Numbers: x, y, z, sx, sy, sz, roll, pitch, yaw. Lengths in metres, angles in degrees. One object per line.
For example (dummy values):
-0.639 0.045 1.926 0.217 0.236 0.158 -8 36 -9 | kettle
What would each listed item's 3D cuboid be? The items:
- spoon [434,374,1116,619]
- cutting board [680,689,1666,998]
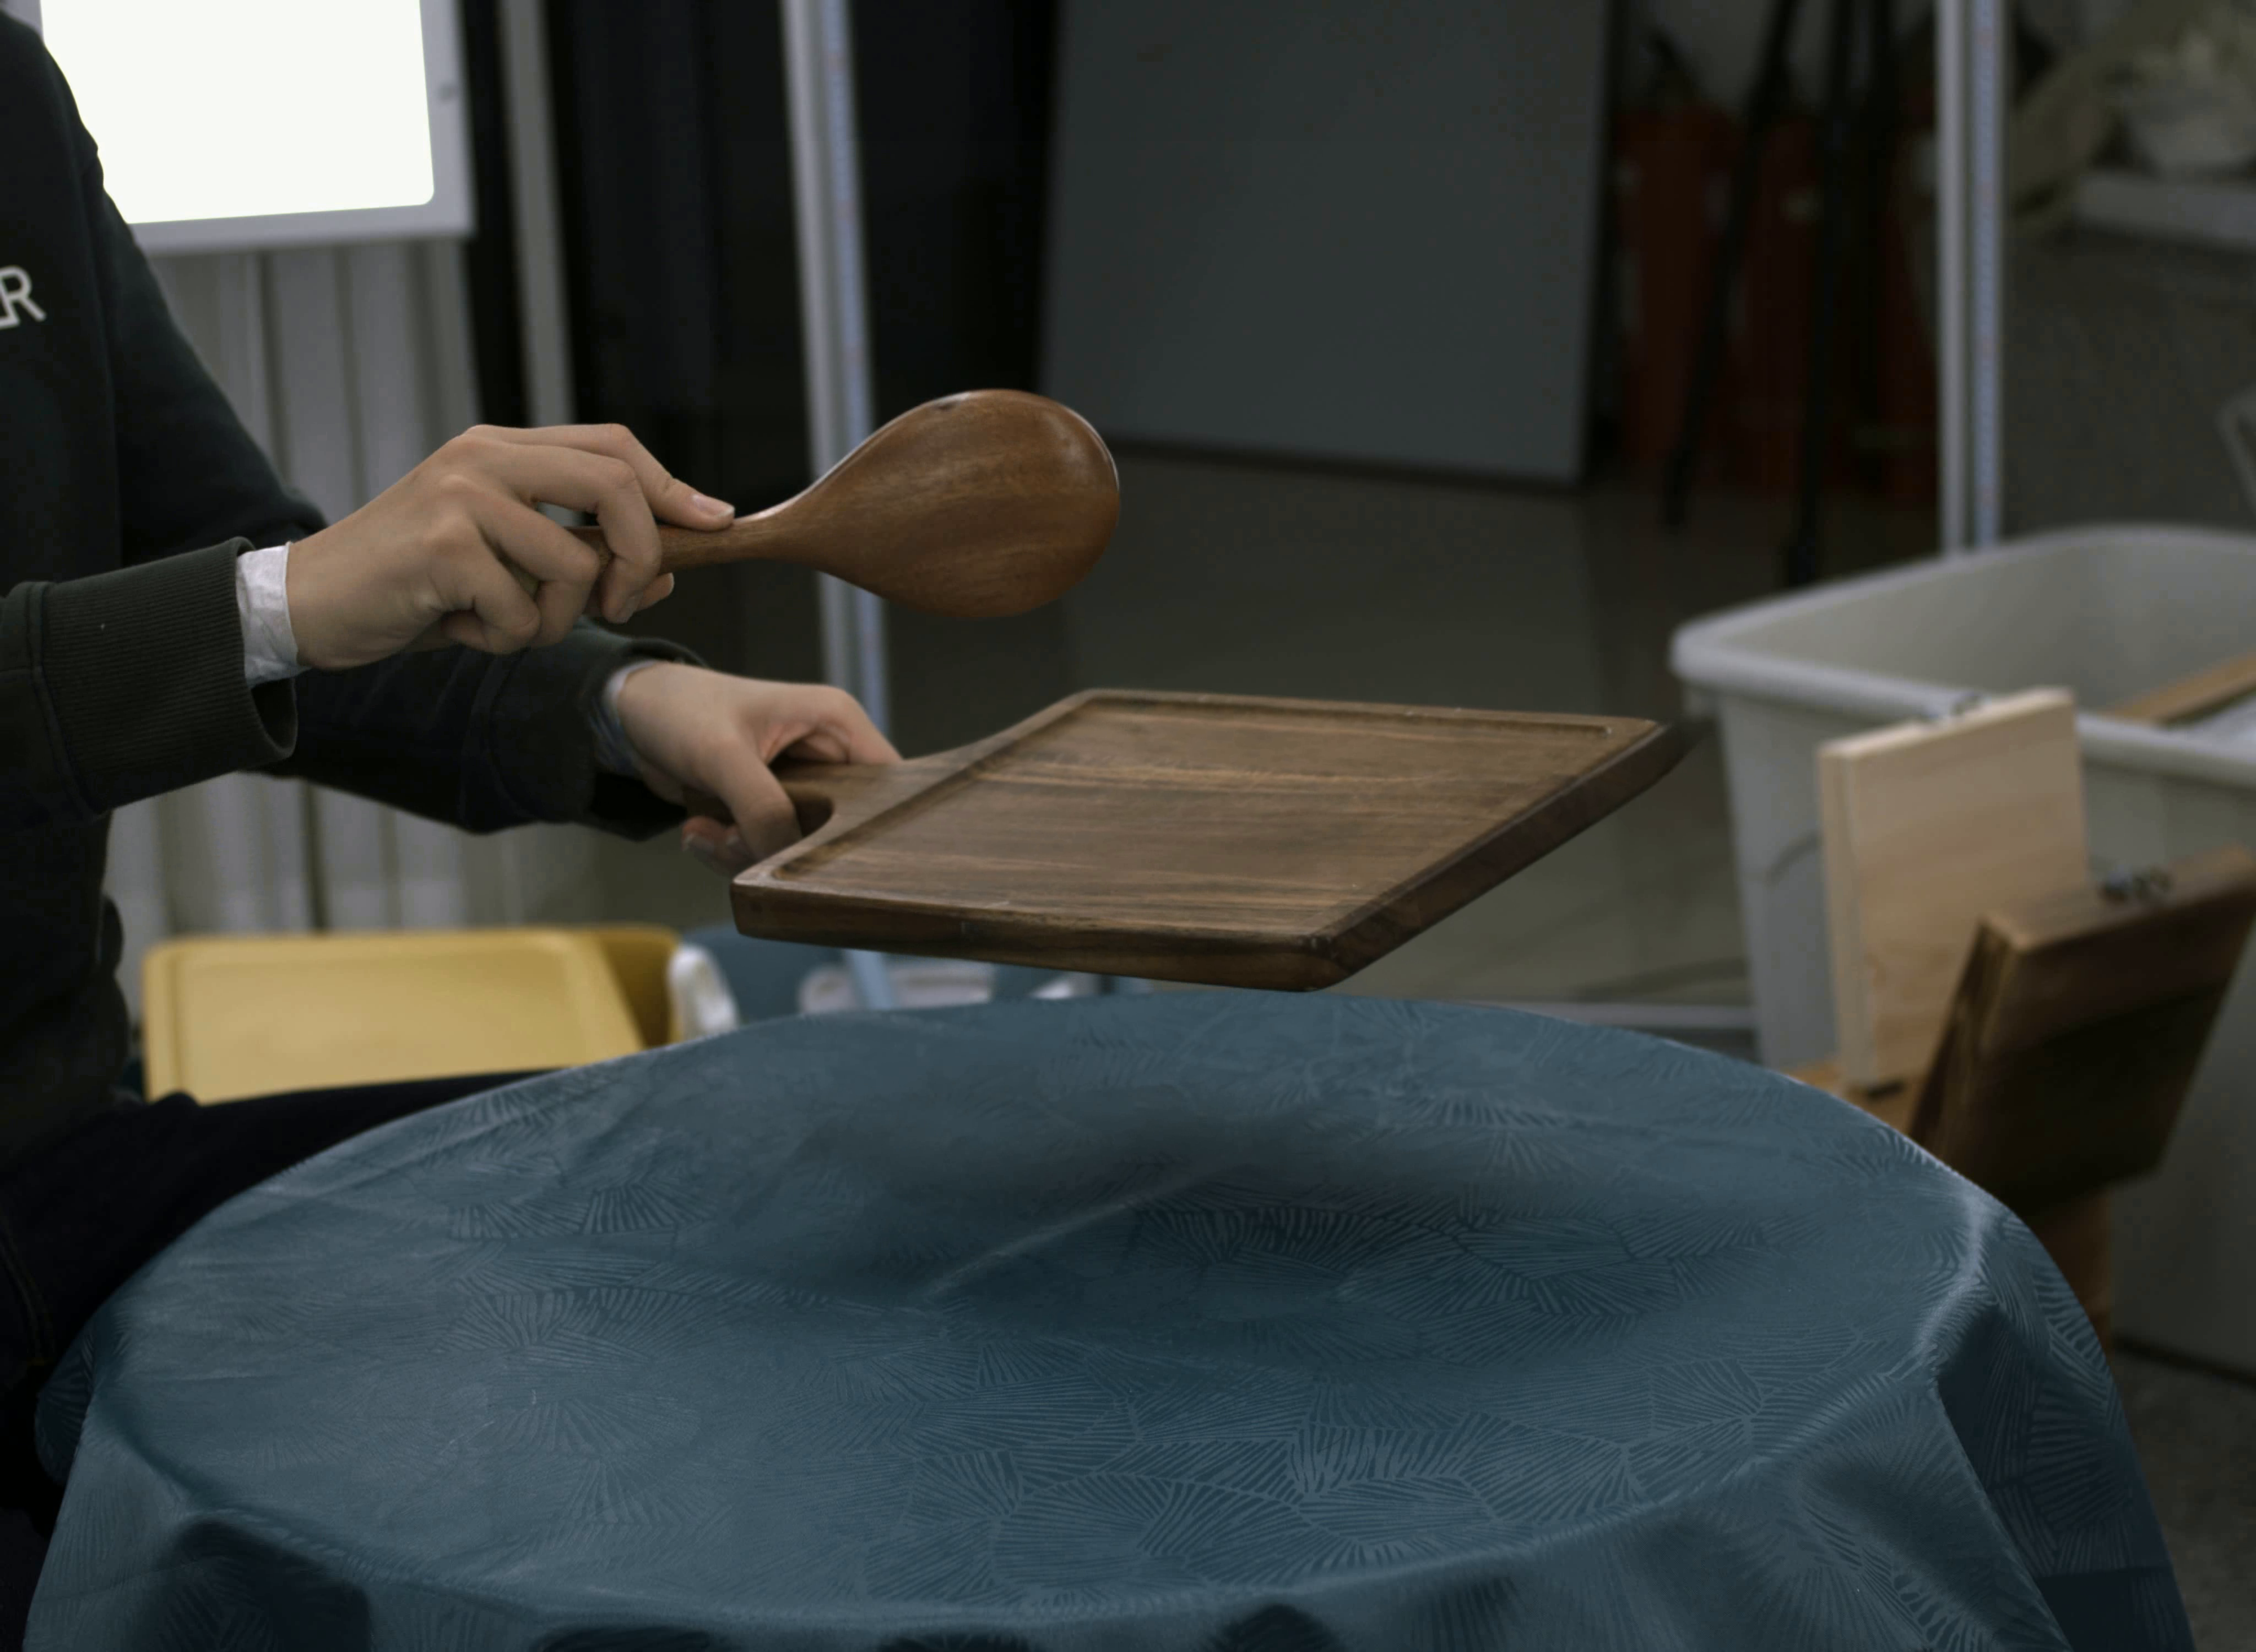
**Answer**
-0.108 -0.092 1.672 0.213 0.076 0.017 -10 23 -4 | spoon
-0.015 -0.001 1.774 0.355 0.023 0.198 3 24 41 | cutting board
